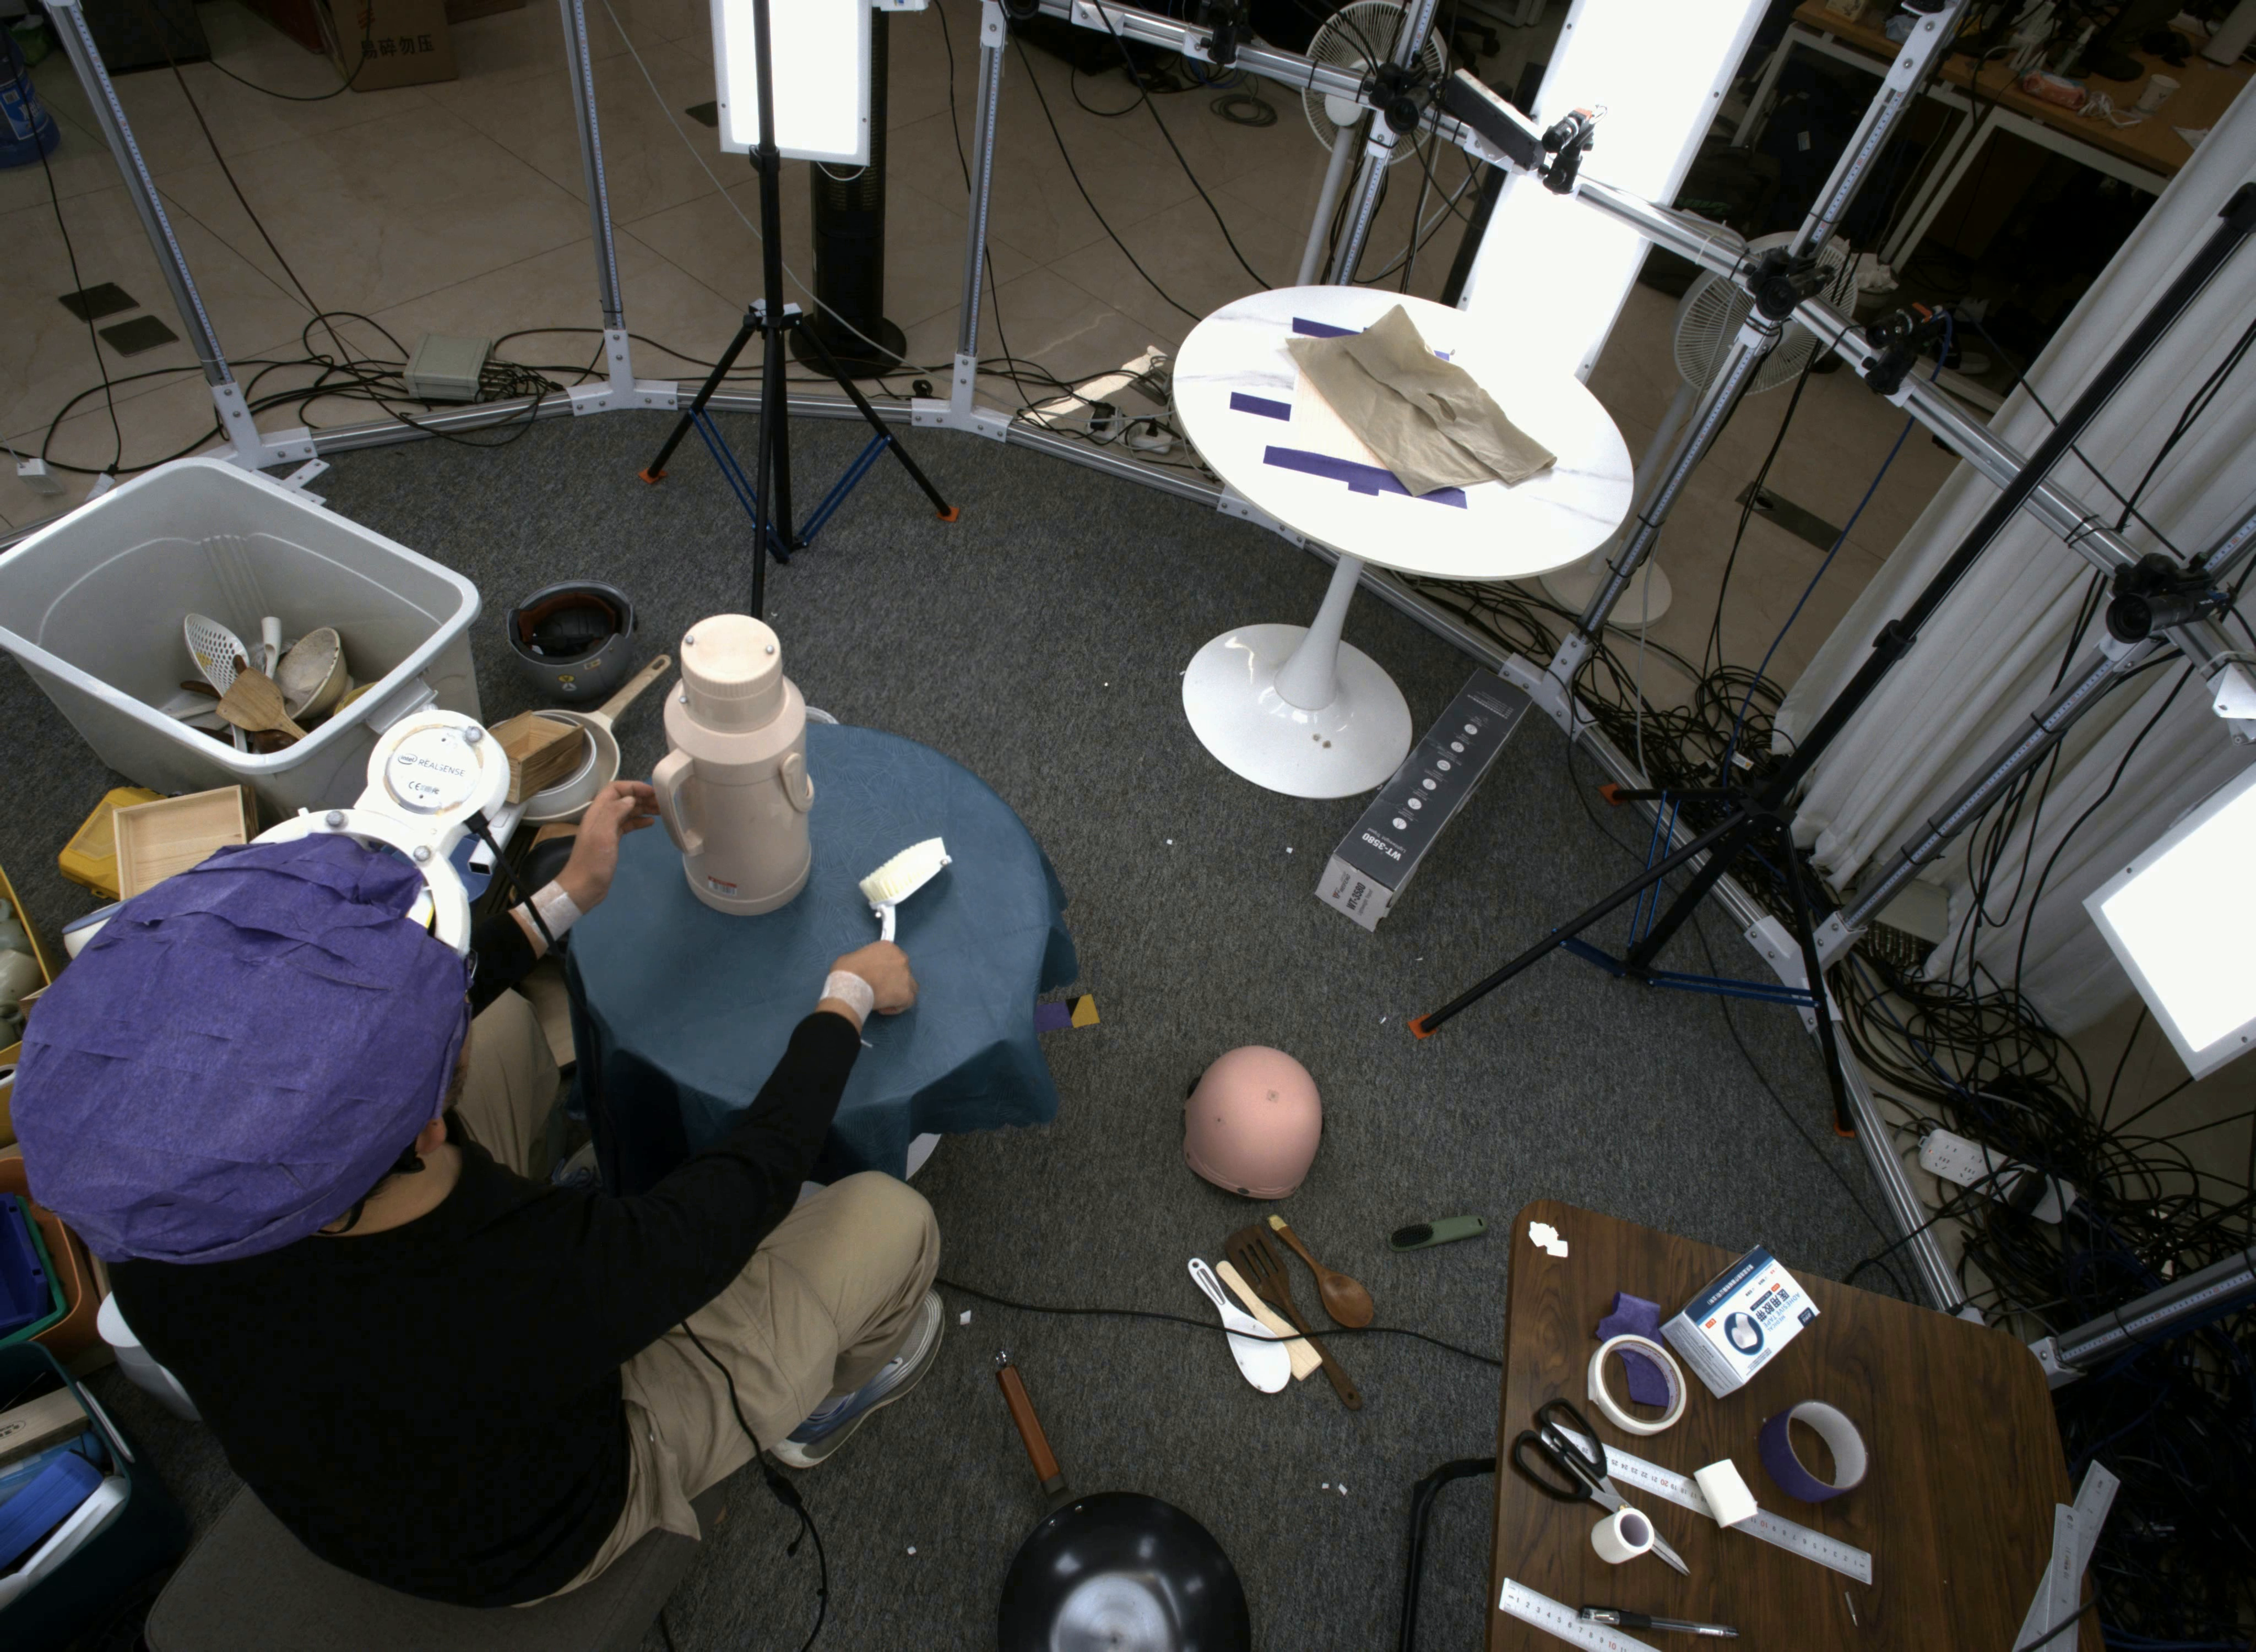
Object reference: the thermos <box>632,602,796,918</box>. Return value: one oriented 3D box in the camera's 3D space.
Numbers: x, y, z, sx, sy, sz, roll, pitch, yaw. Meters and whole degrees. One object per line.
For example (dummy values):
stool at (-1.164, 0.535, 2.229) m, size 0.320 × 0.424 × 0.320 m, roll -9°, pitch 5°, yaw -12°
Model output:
thermos at (-0.484, -0.065, 1.494) m, size 0.172 × 0.414 × 0.206 m, roll 32°, pitch 52°, yaw 12°

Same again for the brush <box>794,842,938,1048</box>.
brush at (-0.335, 0.126, 1.598) m, size 0.083 × 0.085 × 0.323 m, roll 26°, pitch 51°, yaw 6°
